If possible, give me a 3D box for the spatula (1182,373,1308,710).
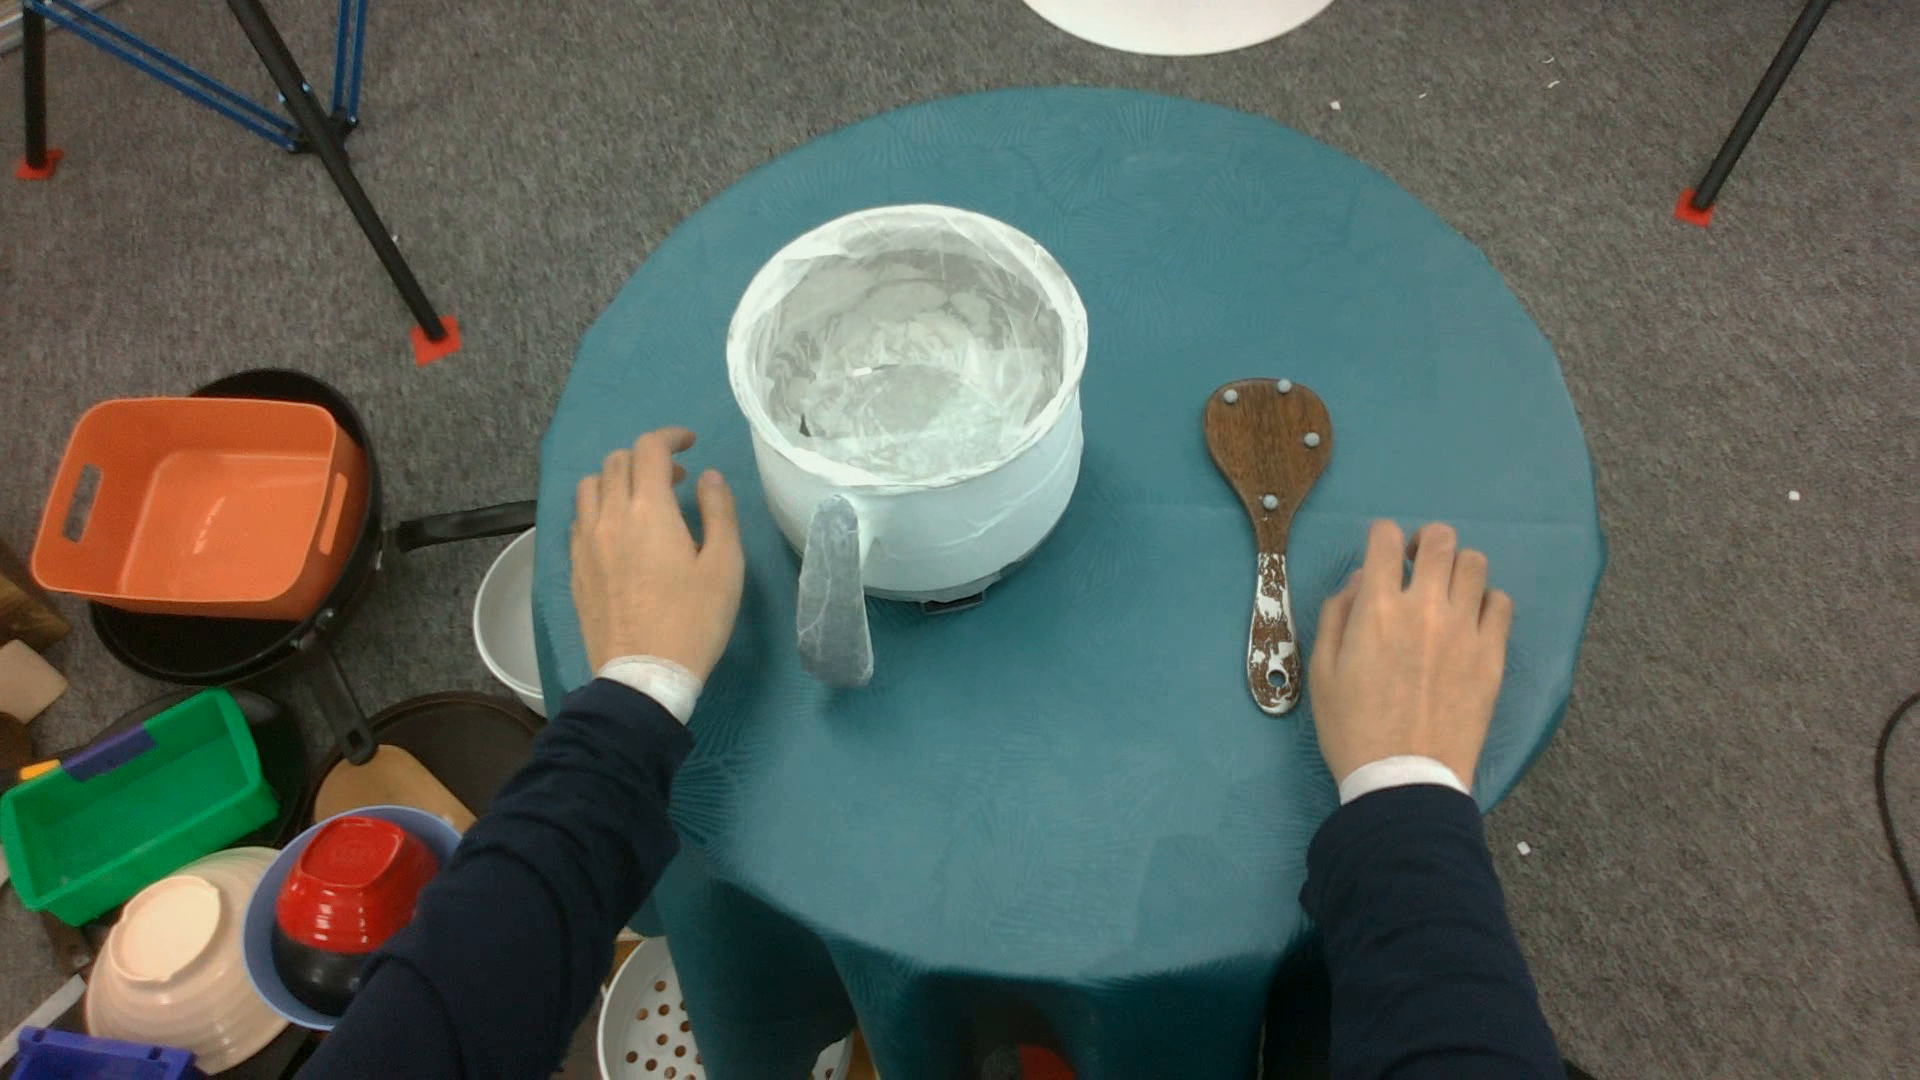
[{"bbox_3d":[0.157,-0.006,0.758,0.072,0.009,0.216,3,60,5],"label":"spatula"}]

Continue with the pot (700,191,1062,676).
[{"bbox_3d":[-0.043,-0.051,0.709,0.178,0.136,0.235,12,59,11],"label":"pot"}]
